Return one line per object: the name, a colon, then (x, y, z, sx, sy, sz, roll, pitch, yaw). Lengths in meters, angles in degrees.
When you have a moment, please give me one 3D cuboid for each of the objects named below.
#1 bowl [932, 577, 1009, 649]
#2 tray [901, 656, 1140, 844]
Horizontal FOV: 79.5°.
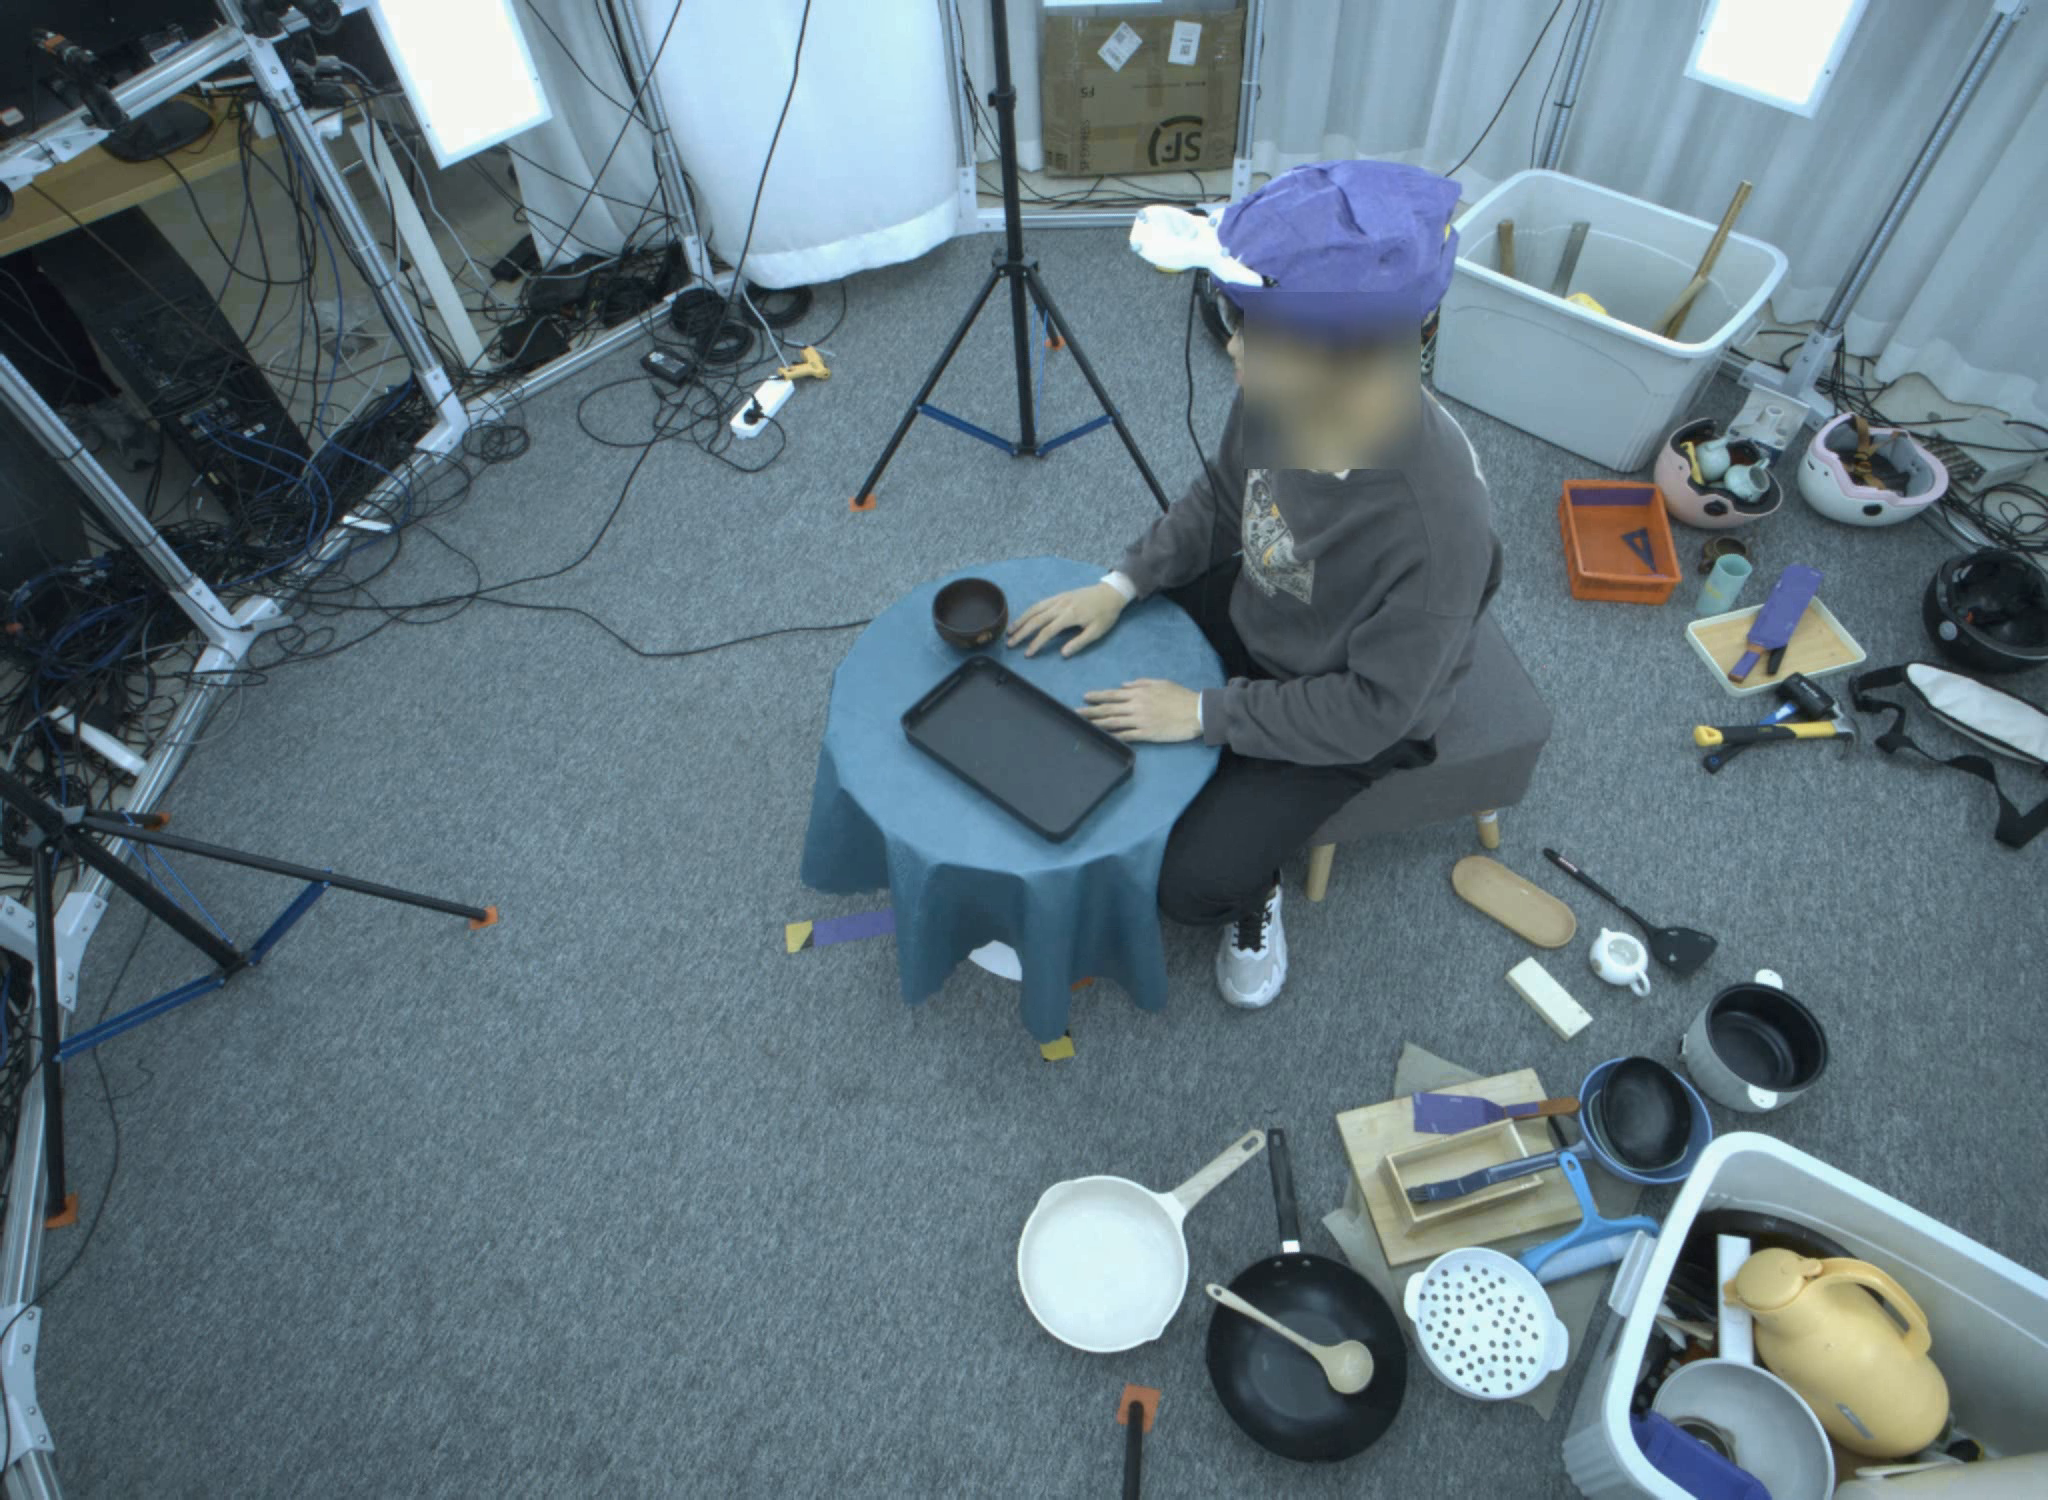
bowl: (-0.082, -0.203, 1.889, 0.118, 0.070, 0.117, 0, 54, 1)
tray: (-0.007, -0.005, 1.767, 0.312, 0.037, 0.185, 32, 61, 23)
